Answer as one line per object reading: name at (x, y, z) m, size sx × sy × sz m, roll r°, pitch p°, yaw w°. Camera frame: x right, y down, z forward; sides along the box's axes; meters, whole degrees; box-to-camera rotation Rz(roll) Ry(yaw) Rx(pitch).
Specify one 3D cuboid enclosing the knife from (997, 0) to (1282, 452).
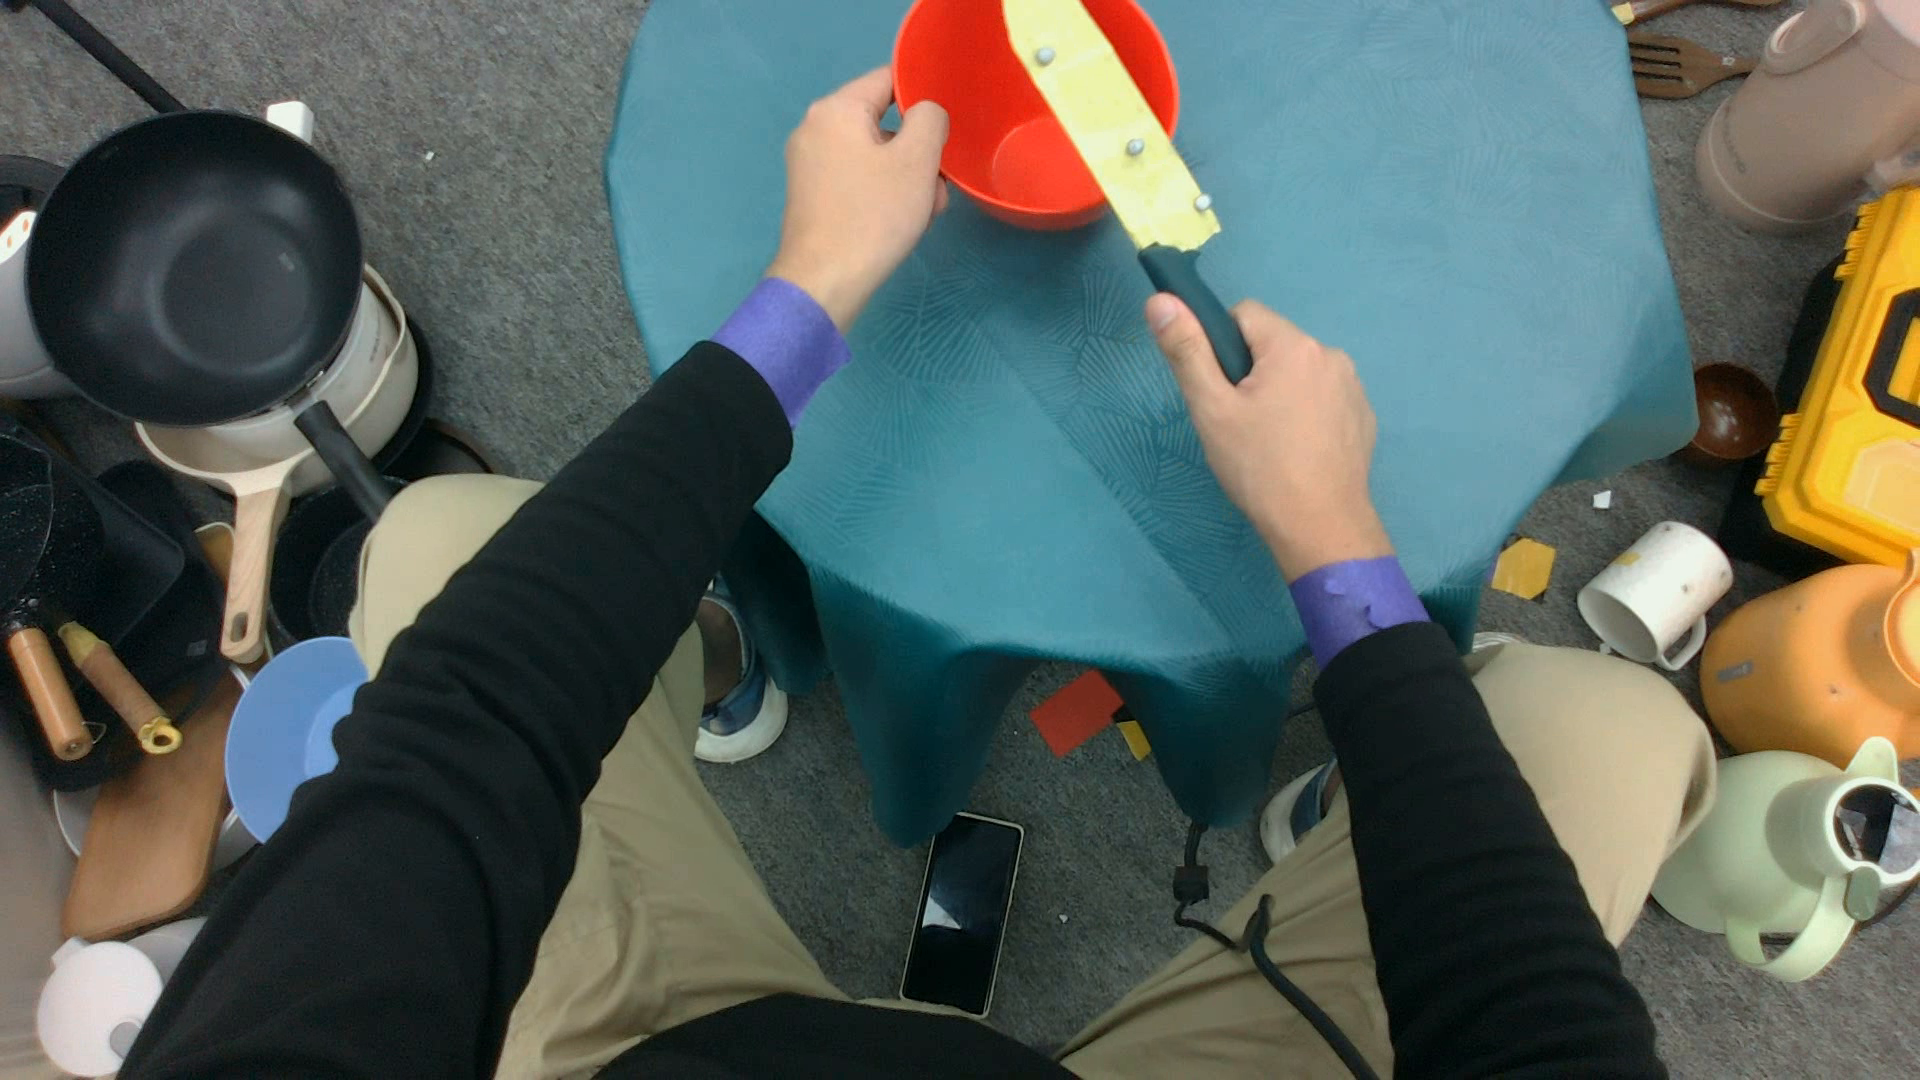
knife at (0.094, -0.177, 0.695) m, size 0.081 × 0.027 × 0.289 m, roll -33°, pitch 97°, yaw -42°

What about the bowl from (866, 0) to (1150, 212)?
bowl at (0.026, -0.235, 0.748) m, size 0.148 × 0.104 × 0.148 m, roll 0°, pitch 73°, yaw -1°
